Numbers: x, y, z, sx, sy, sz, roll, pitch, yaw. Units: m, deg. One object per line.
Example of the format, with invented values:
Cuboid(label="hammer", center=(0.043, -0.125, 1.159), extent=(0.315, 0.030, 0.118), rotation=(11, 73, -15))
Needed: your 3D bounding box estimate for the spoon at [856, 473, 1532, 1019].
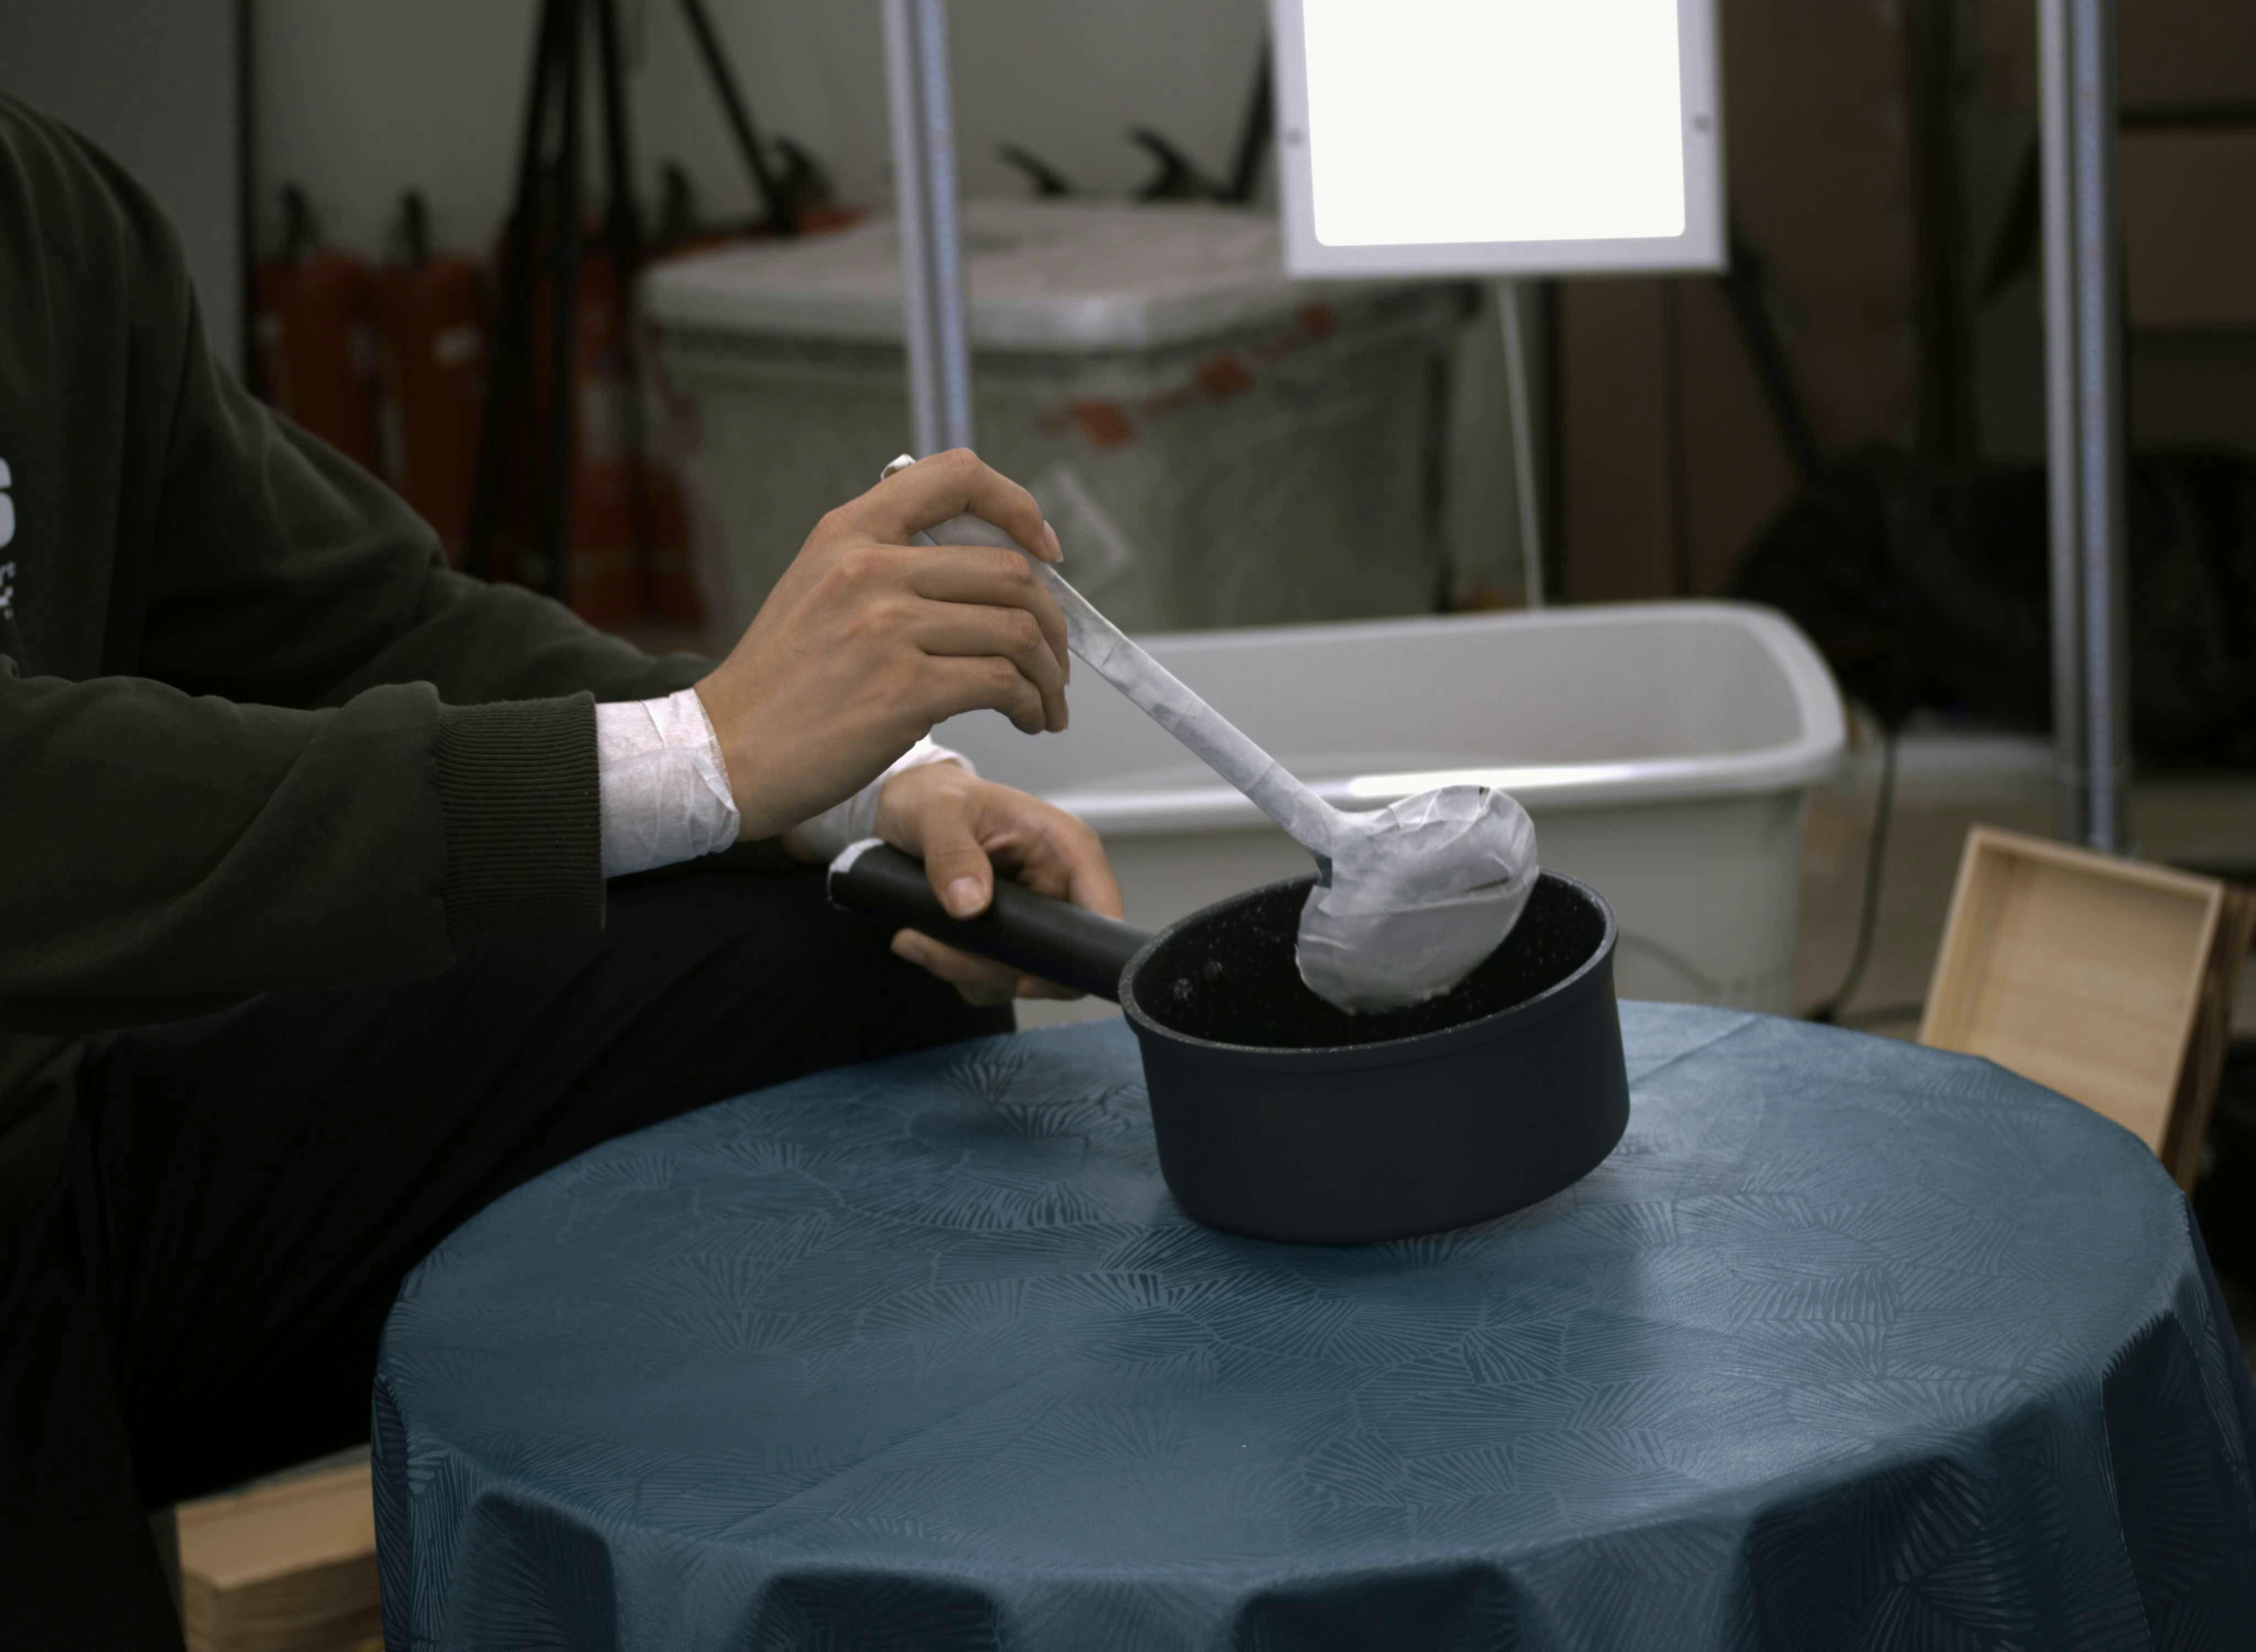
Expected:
Cuboid(label="spoon", center=(0.018, -0.031, 1.831), extent=(0.276, 0.101, 0.059), rotation=(36, 6, -9))

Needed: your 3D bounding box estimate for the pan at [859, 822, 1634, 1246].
Cuboid(label="pan", center=(0.030, 0.064, 1.934), extent=(0.336, 0.087, 0.168), rotation=(11, 28, 44))
